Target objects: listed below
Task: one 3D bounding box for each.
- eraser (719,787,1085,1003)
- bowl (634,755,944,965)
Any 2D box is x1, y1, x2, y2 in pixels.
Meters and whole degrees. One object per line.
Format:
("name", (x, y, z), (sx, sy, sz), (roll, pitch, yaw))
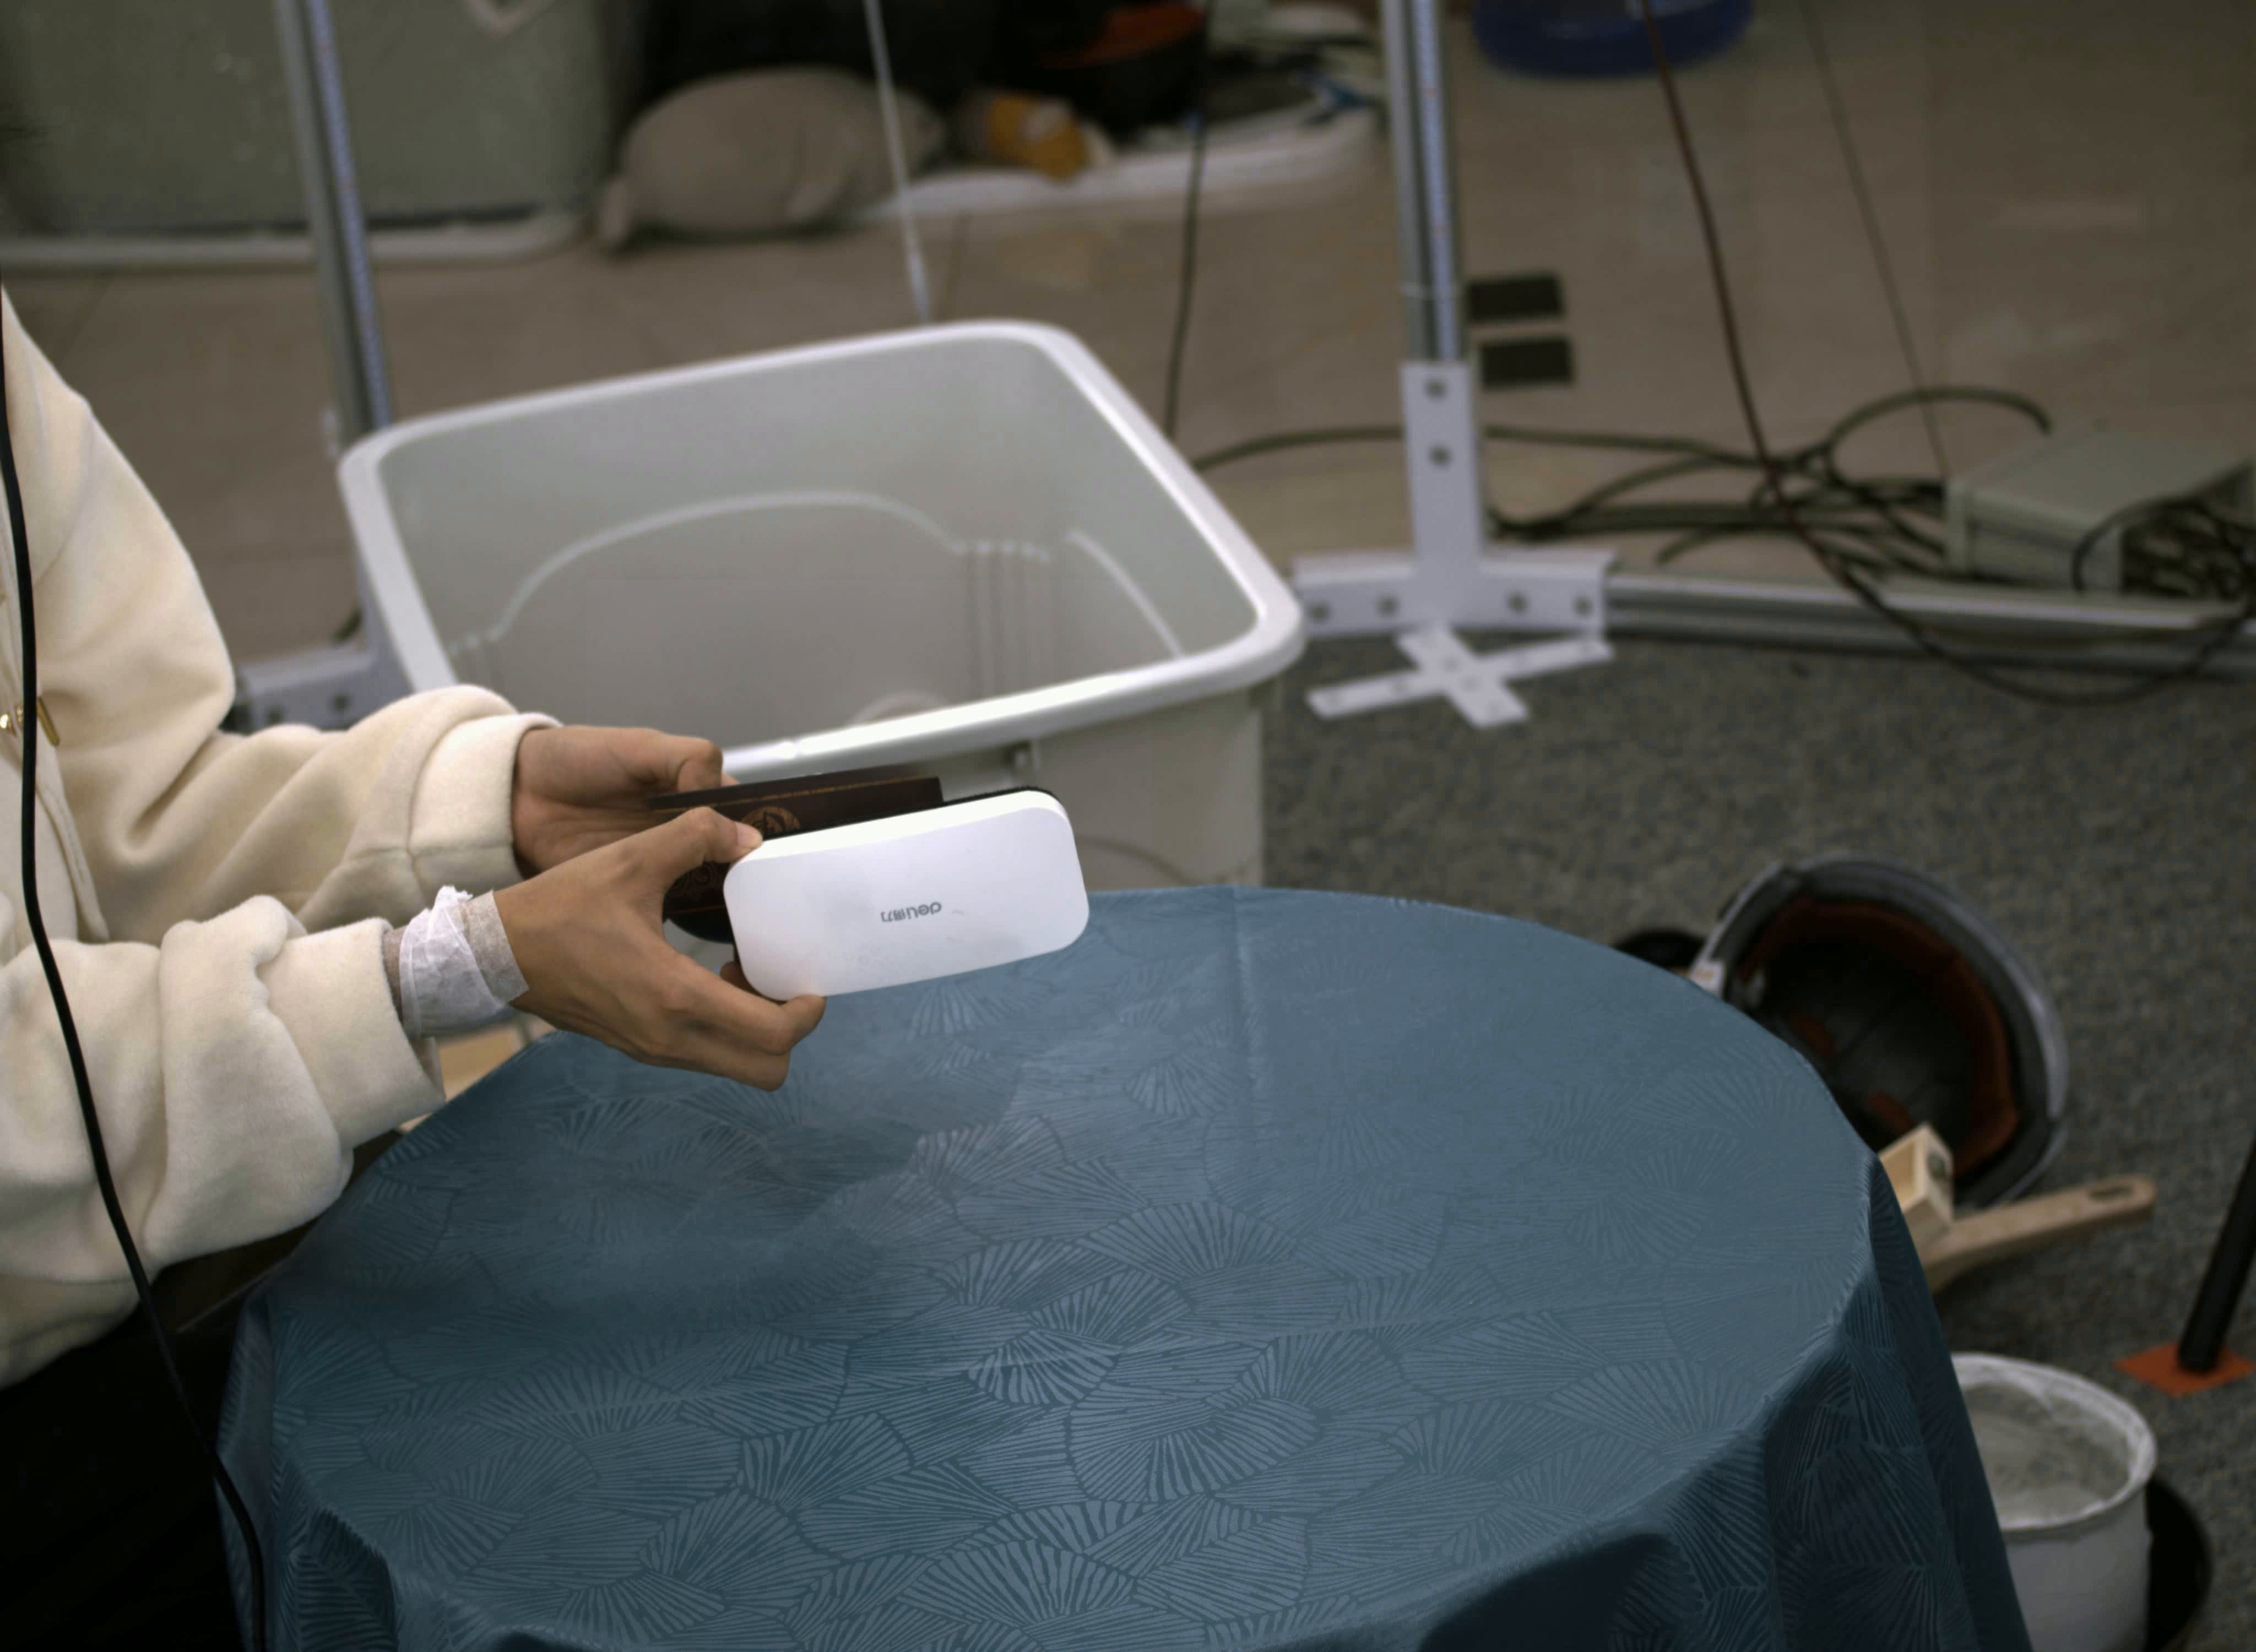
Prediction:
("eraser", (-0.083, 0.024, 2.085), (0.131, 0.064, 0.034), (-10, 26, 3))
("bowl", (-0.126, 0.015, 2.154), (0.118, 0.070, 0.118), (-8, -2, 0))
